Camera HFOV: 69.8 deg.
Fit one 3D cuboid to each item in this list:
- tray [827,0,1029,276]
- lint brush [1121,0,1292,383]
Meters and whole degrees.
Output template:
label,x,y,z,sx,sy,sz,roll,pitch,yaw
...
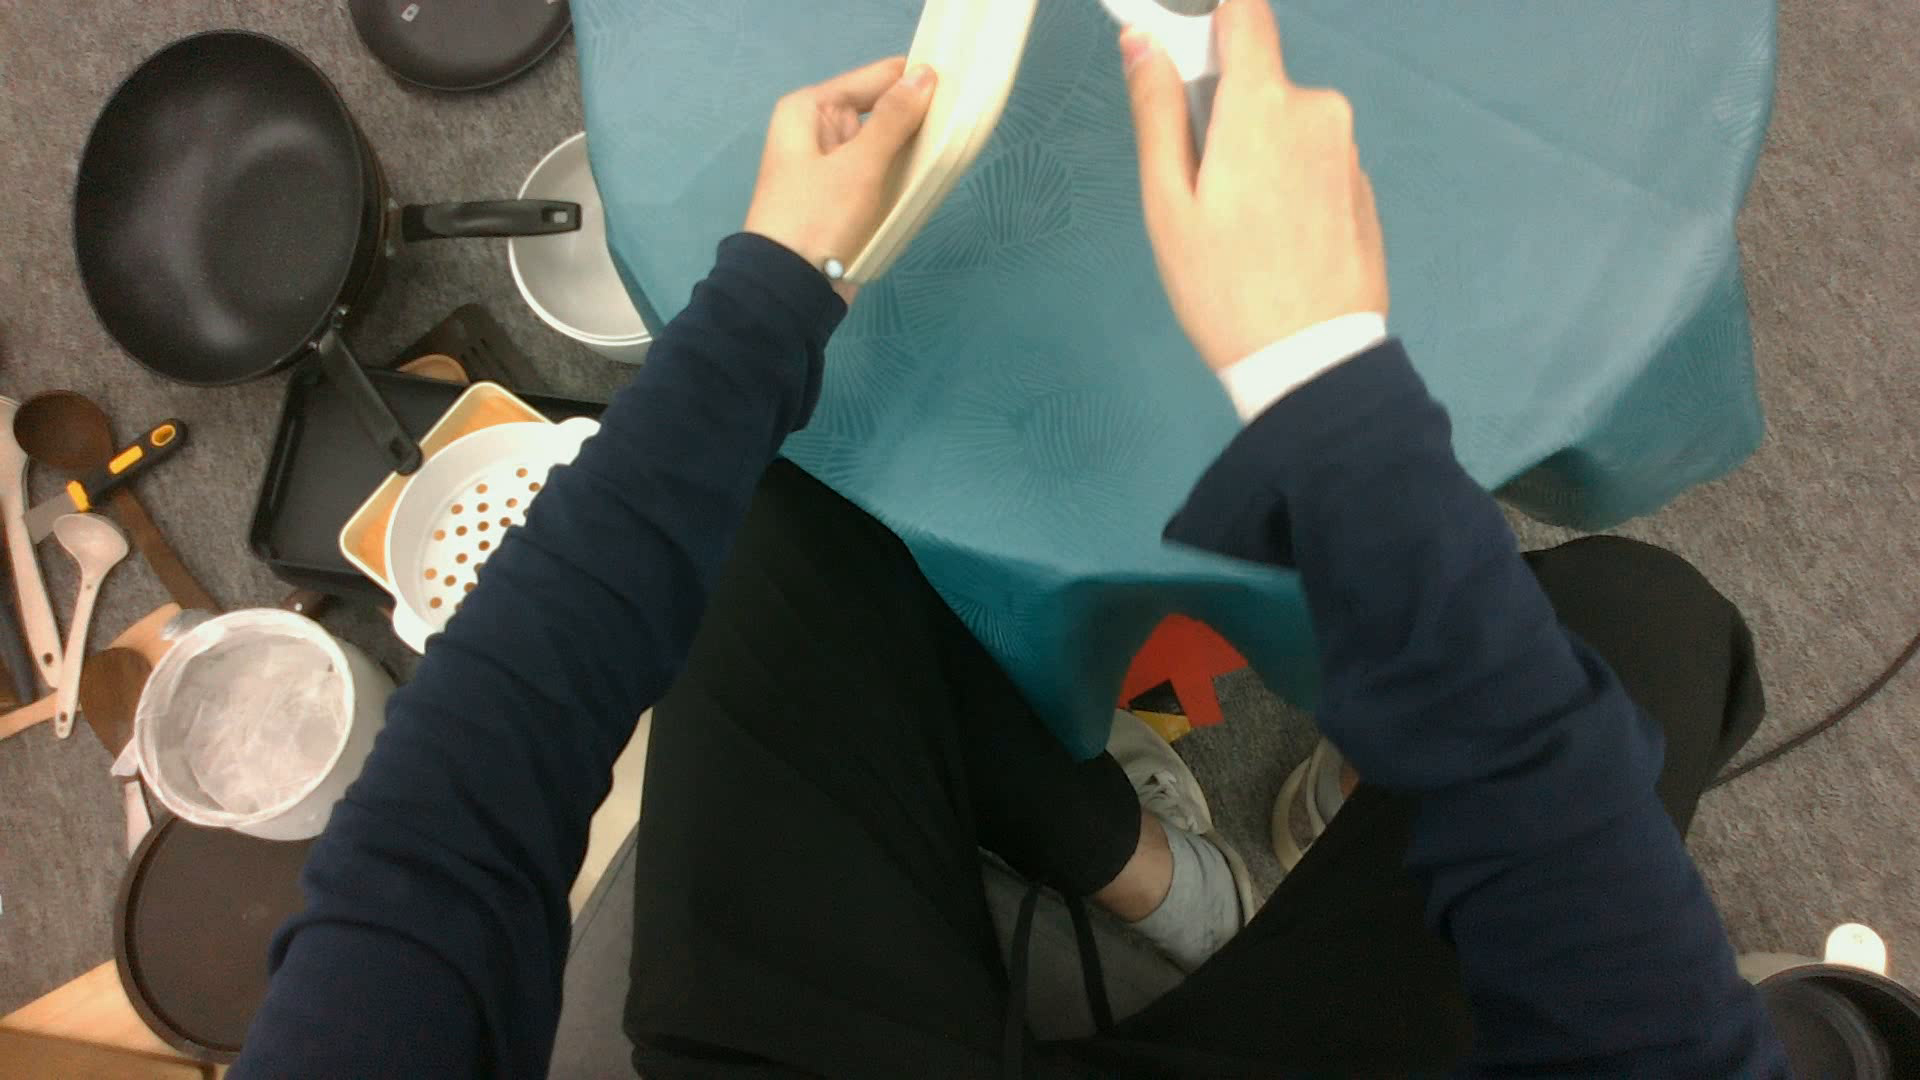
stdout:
label,x,y,z,sx,sy,sz,roll,pitch,yaw
tray,0.006,-0.227,0.546,0.017,0.170,0.240,21,72,-16
lint brush,0.066,-0.204,0.468,0.060,0.021,0.309,-17,93,-41
